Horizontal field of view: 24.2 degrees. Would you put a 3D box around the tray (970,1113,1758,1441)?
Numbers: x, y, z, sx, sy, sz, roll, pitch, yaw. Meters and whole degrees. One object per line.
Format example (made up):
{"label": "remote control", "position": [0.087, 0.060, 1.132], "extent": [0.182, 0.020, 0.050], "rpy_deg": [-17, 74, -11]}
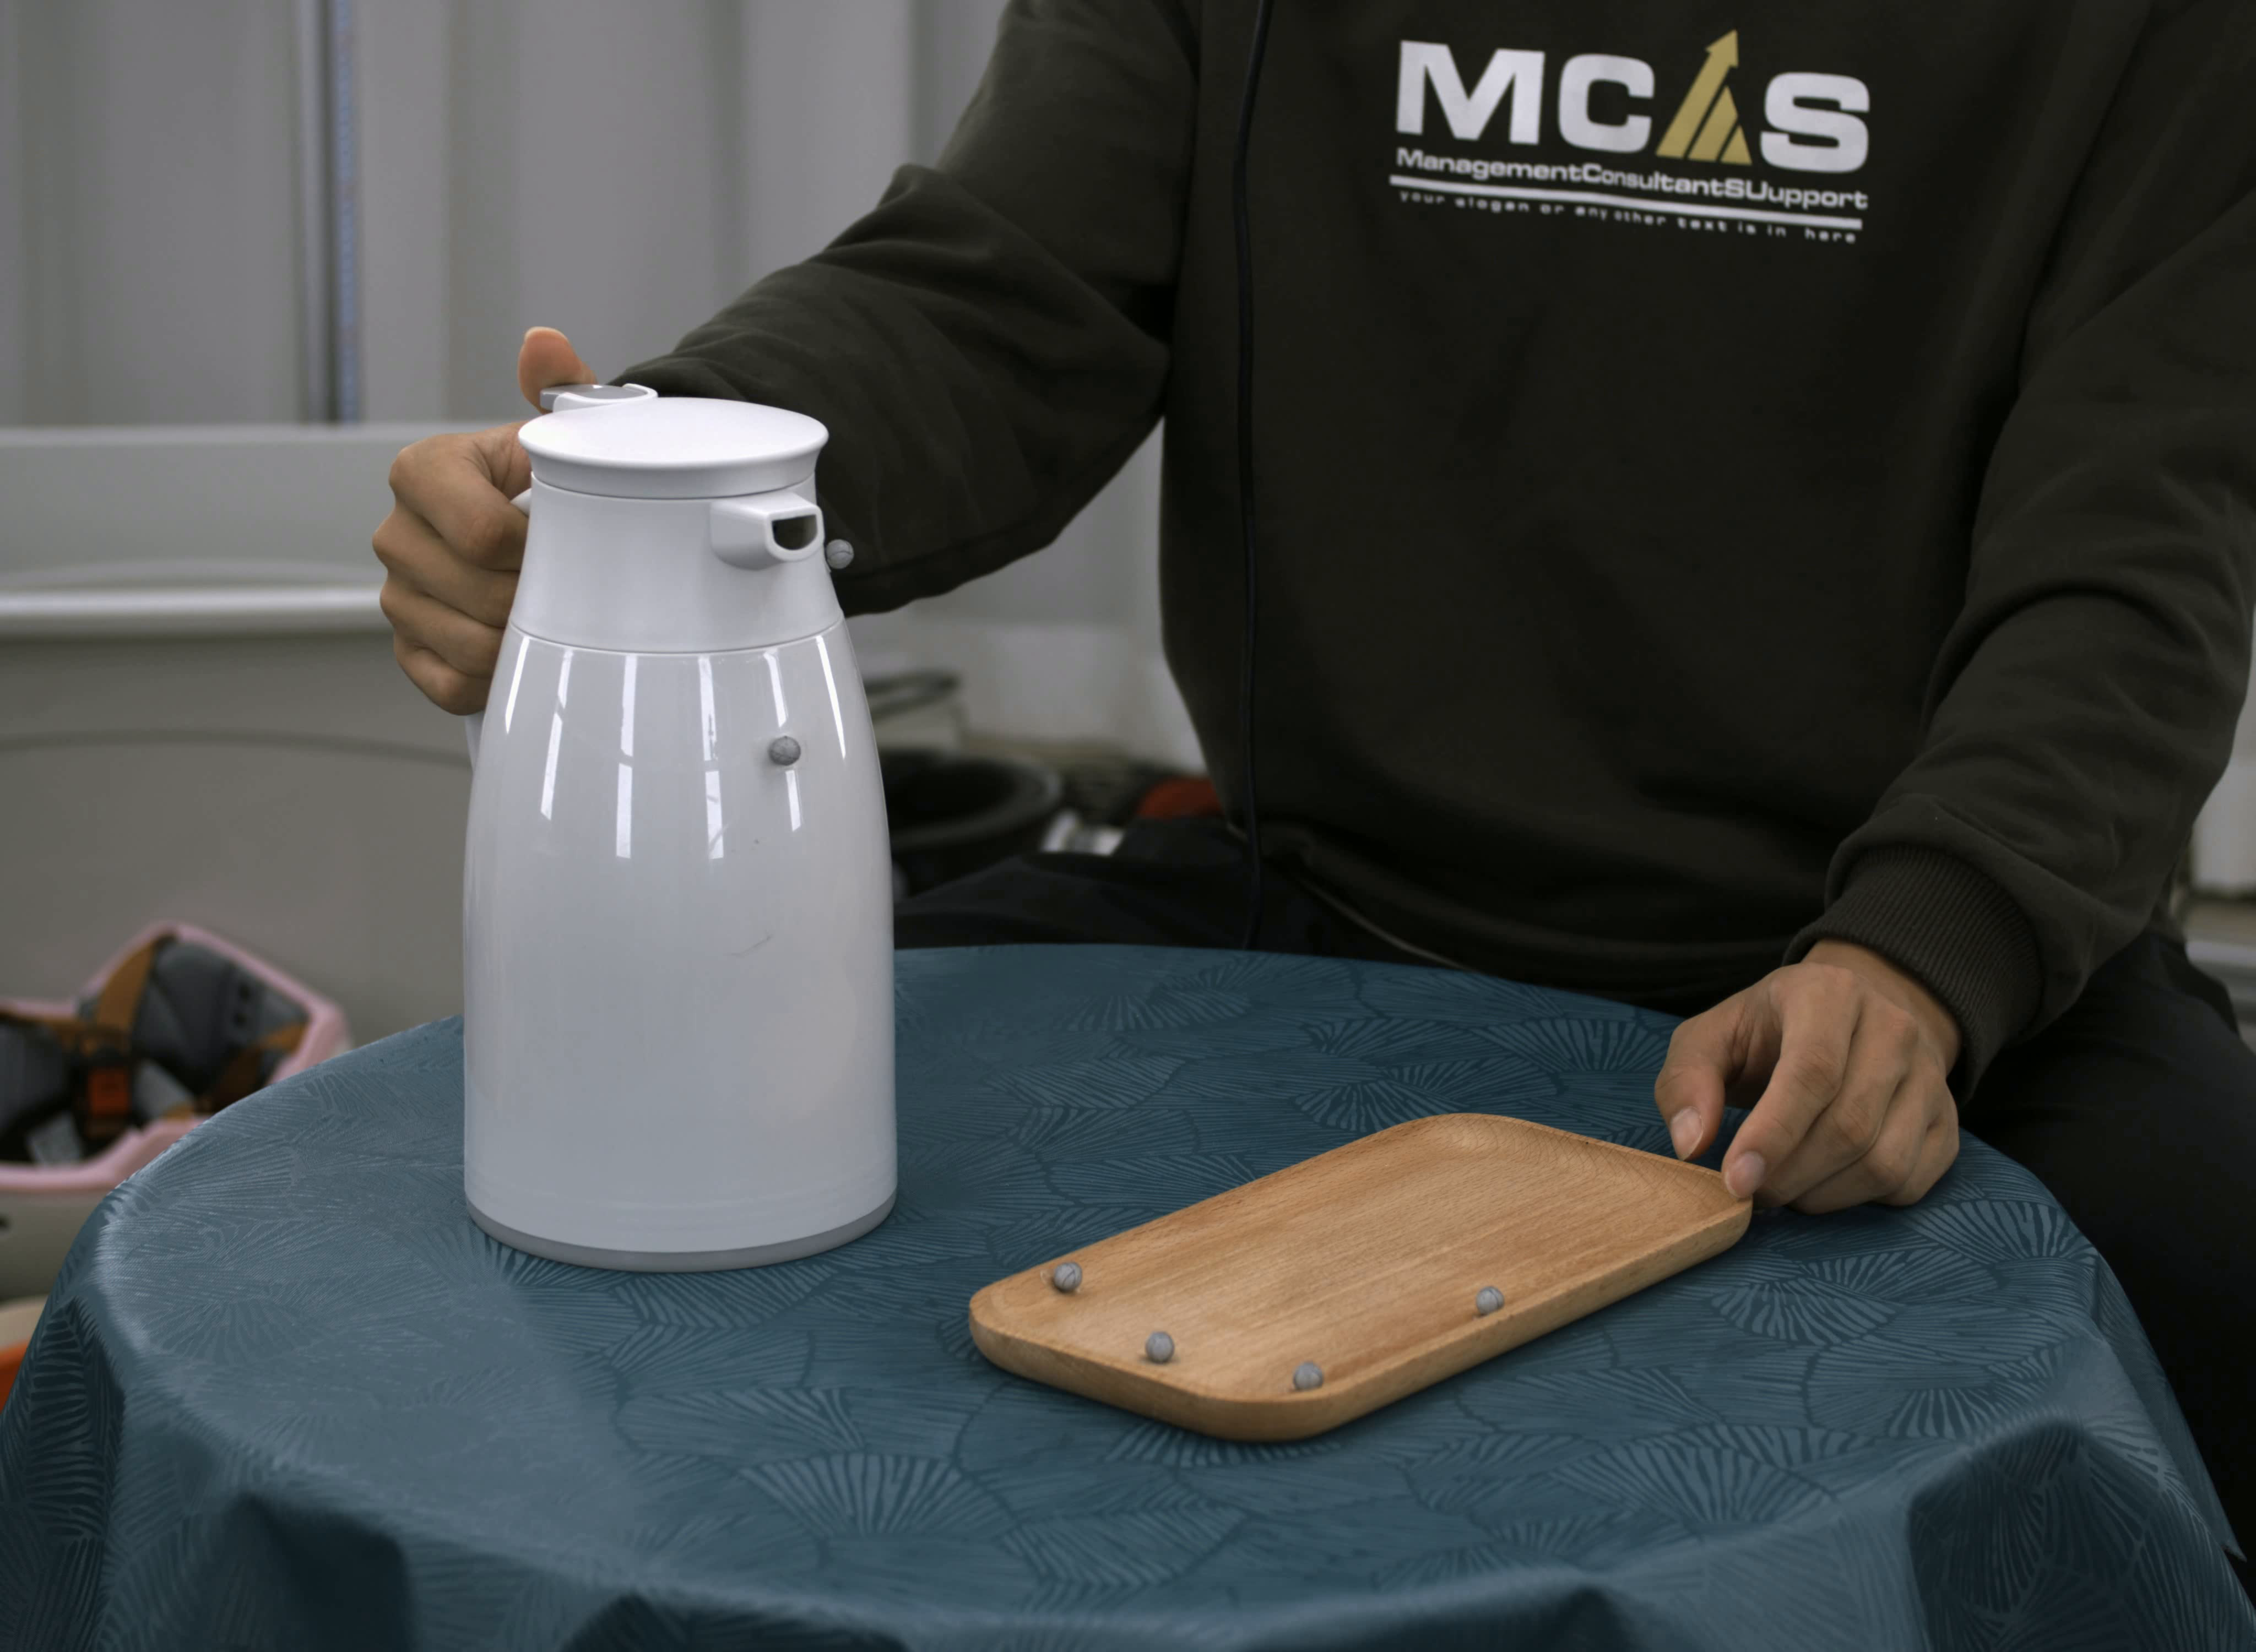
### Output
{"label": "tray", "position": [0.073, 0.129, 1.544], "extent": [0.129, 0.023, 0.252], "rpy_deg": [16, 21, 38]}

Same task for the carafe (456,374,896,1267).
{"label": "carafe", "position": [-0.149, -0.010, 1.592], "extent": [0.133, 0.250, 0.165], "rpy_deg": [-14, 21, -39]}
